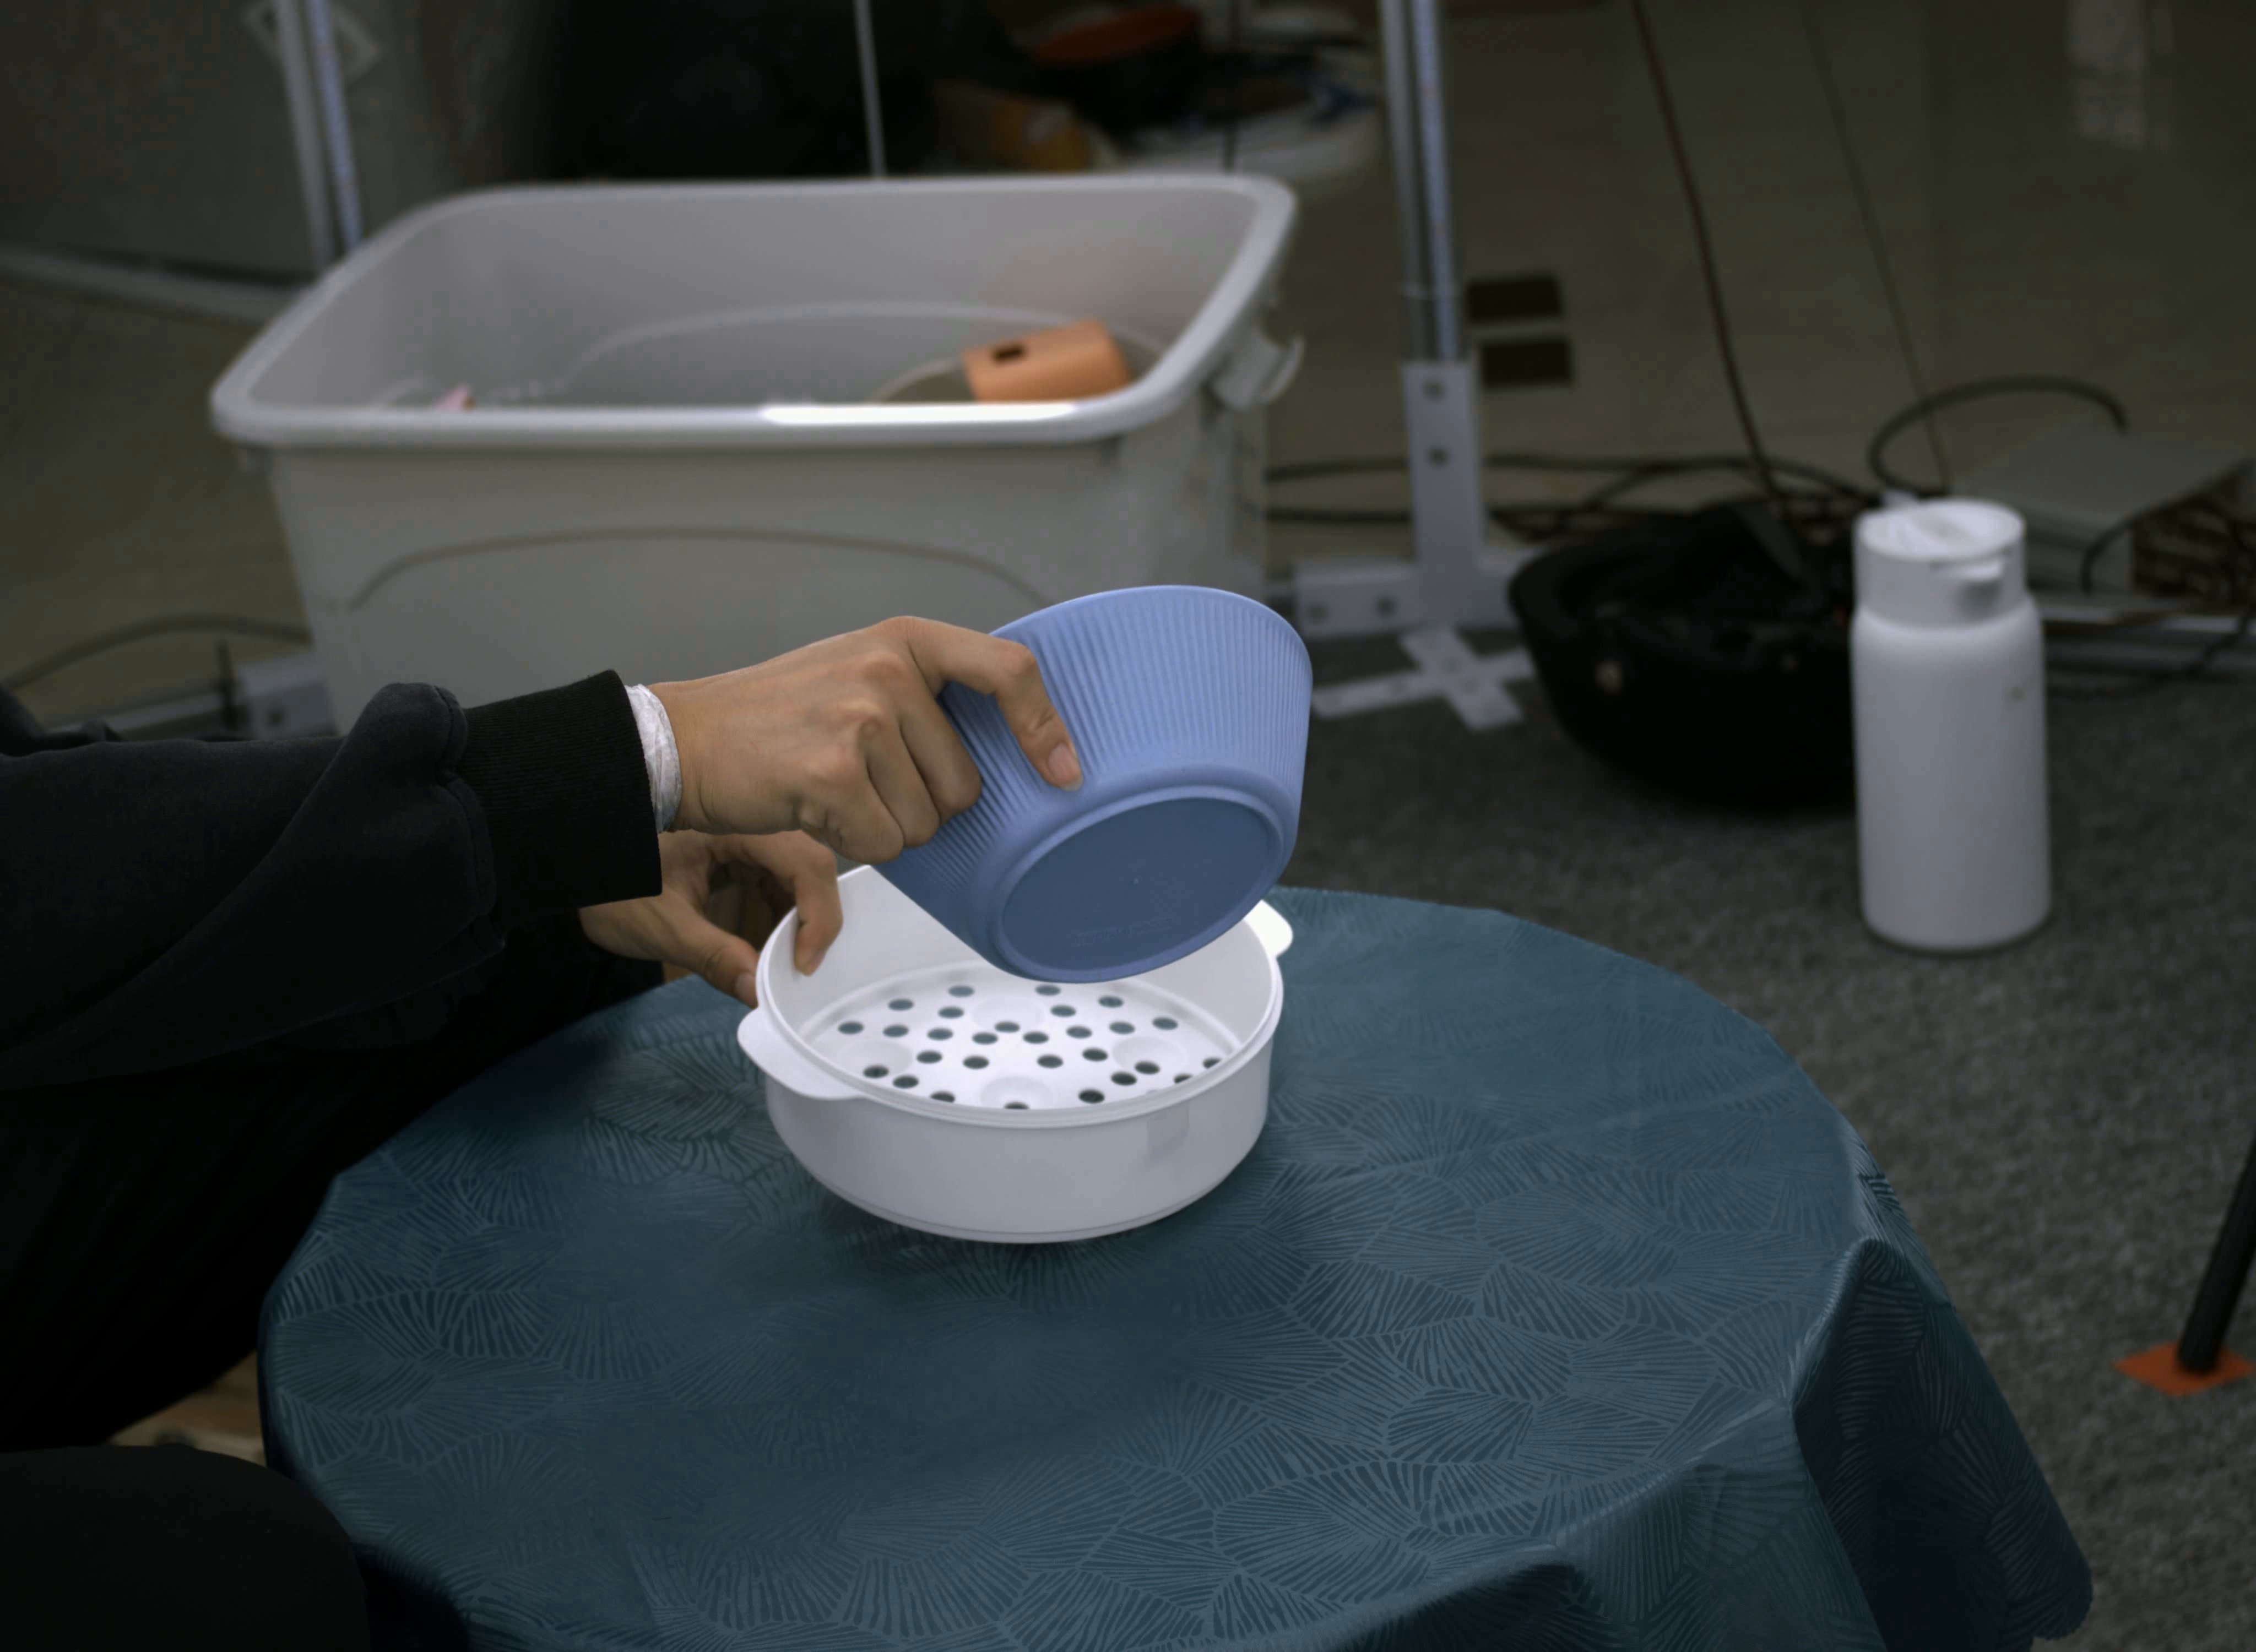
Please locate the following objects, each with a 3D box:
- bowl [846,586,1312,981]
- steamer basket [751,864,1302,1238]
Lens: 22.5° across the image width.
[{"bbox_3d":[-0.007,-0.004,2.011,0.175,0.179,0.069,-13,57,-14],"label":"bowl"},{"bbox_3d":[-0.038,0.083,2.177,0.229,0.070,0.199,-16,35,-32],"label":"steamer basket"}]
